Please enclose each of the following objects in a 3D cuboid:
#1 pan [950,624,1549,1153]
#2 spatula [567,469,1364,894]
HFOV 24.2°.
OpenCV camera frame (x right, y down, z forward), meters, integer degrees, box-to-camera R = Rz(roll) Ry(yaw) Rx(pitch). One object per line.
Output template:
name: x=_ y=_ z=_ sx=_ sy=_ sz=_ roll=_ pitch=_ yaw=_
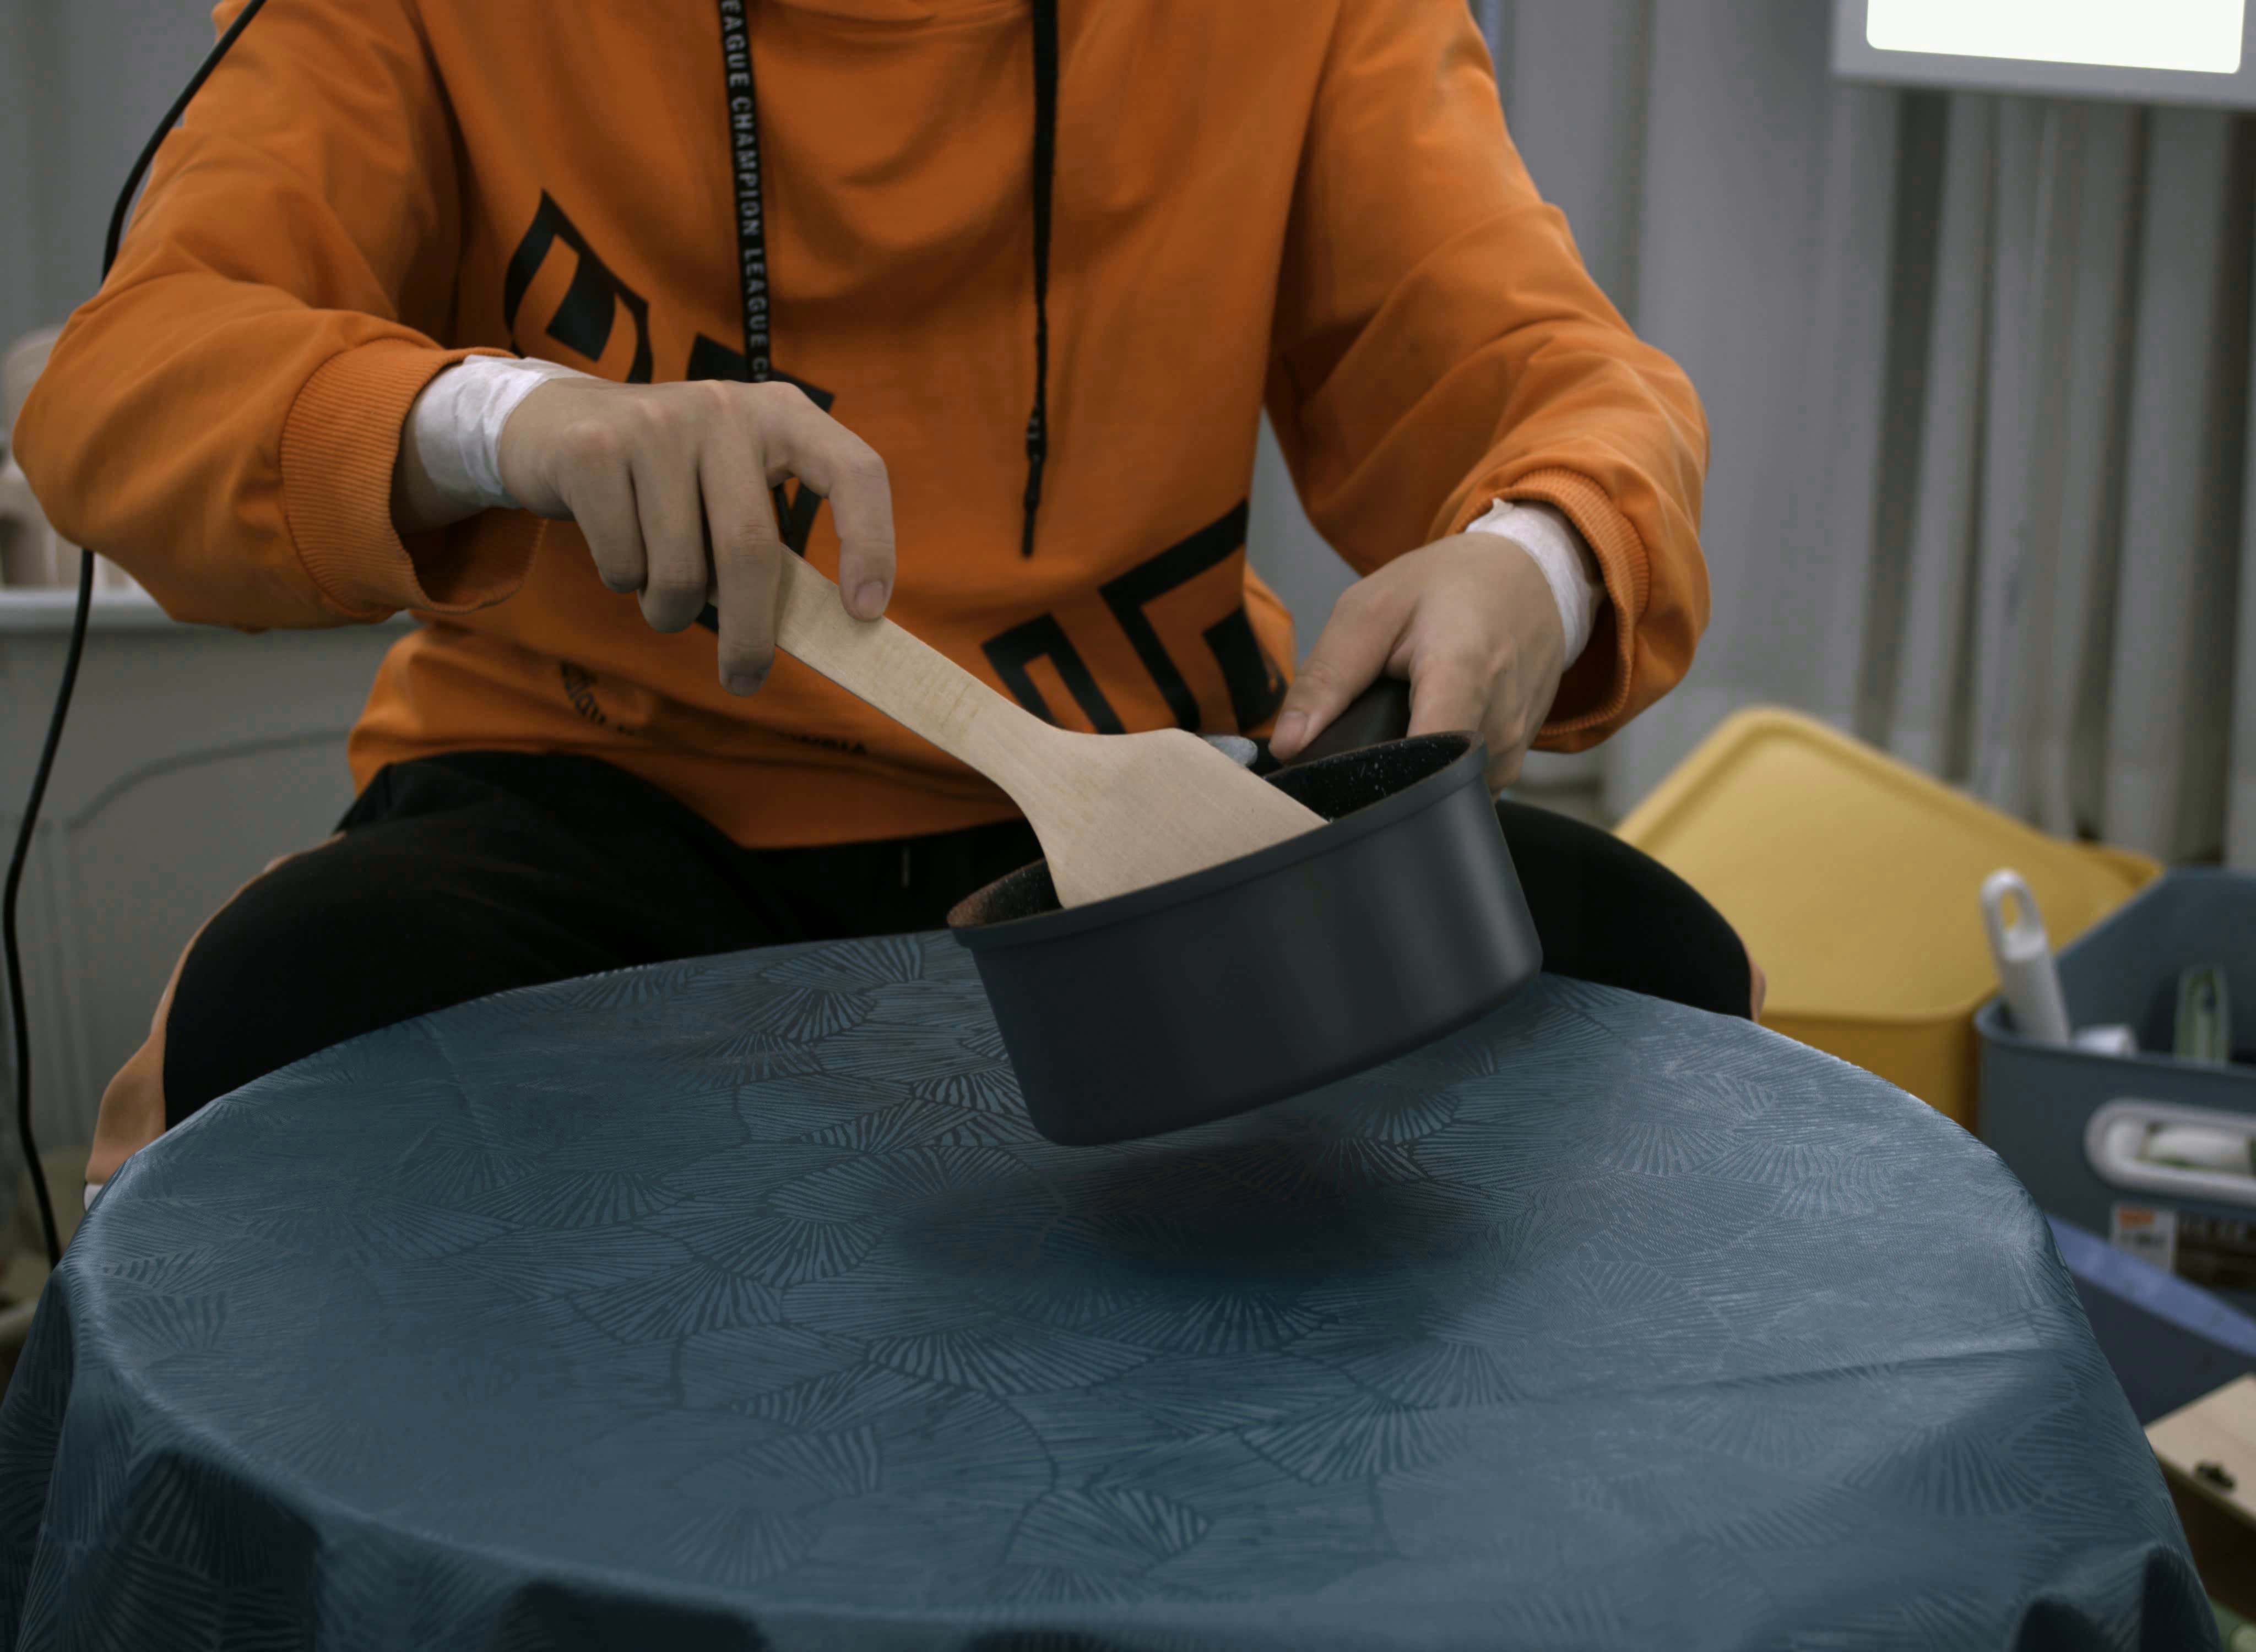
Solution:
pan: x=0.063 y=0.014 z=1.658 sx=0.171 sy=0.087 sz=0.329 roll=-15 pitch=9 yaw=22
spatula: x=-0.059 y=-0.044 z=1.655 sx=0.290 sy=0.072 sz=0.011 roll=28 pitch=1 yaw=20
